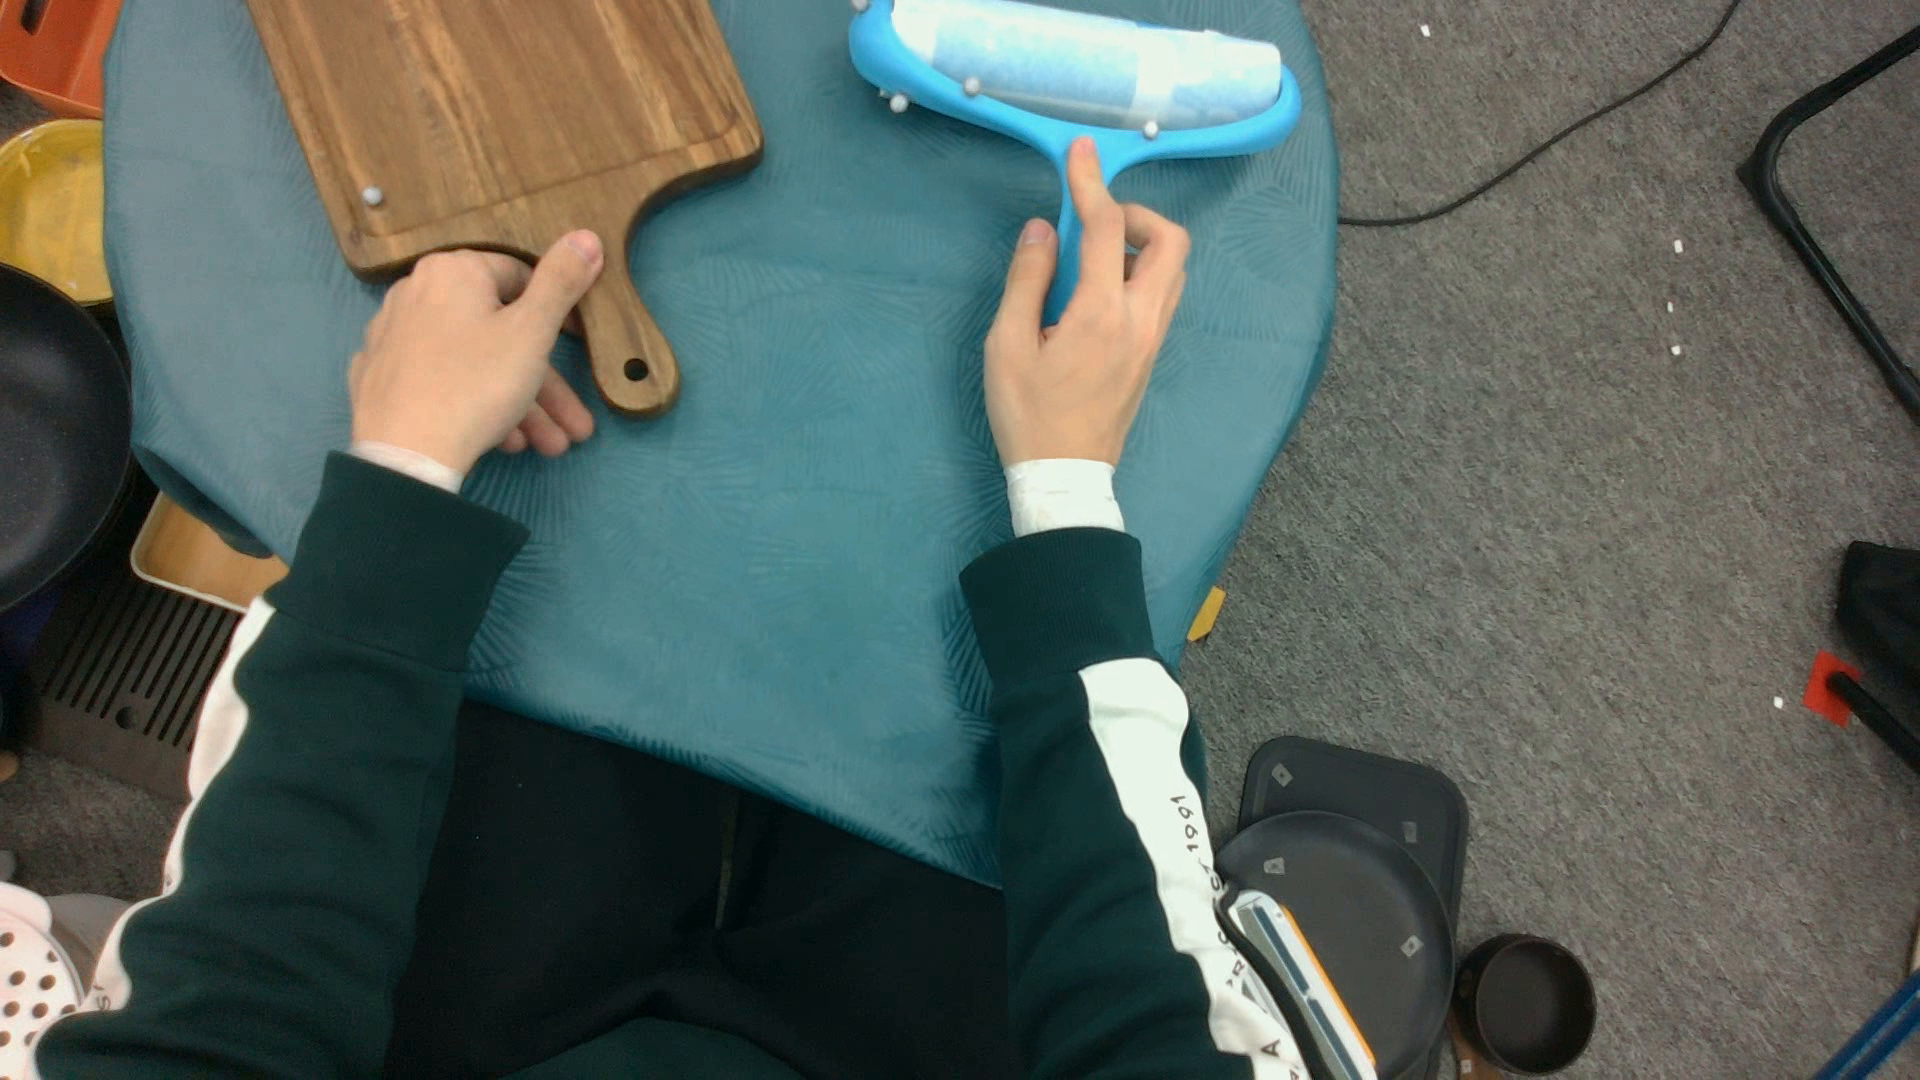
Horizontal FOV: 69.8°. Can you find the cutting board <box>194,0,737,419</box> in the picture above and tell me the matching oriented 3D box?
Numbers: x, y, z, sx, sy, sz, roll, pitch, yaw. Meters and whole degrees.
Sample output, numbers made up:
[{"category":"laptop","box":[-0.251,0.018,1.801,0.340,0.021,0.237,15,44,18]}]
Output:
[{"category":"cutting board","box":[-0.224,-0.213,0.641,0.201,0.023,0.352,-25,83,-14]}]

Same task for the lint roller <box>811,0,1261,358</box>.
[{"category":"lint roller","box":[0.042,-0.185,0.678,0.229,0.068,0.180,1,79,-13]}]
